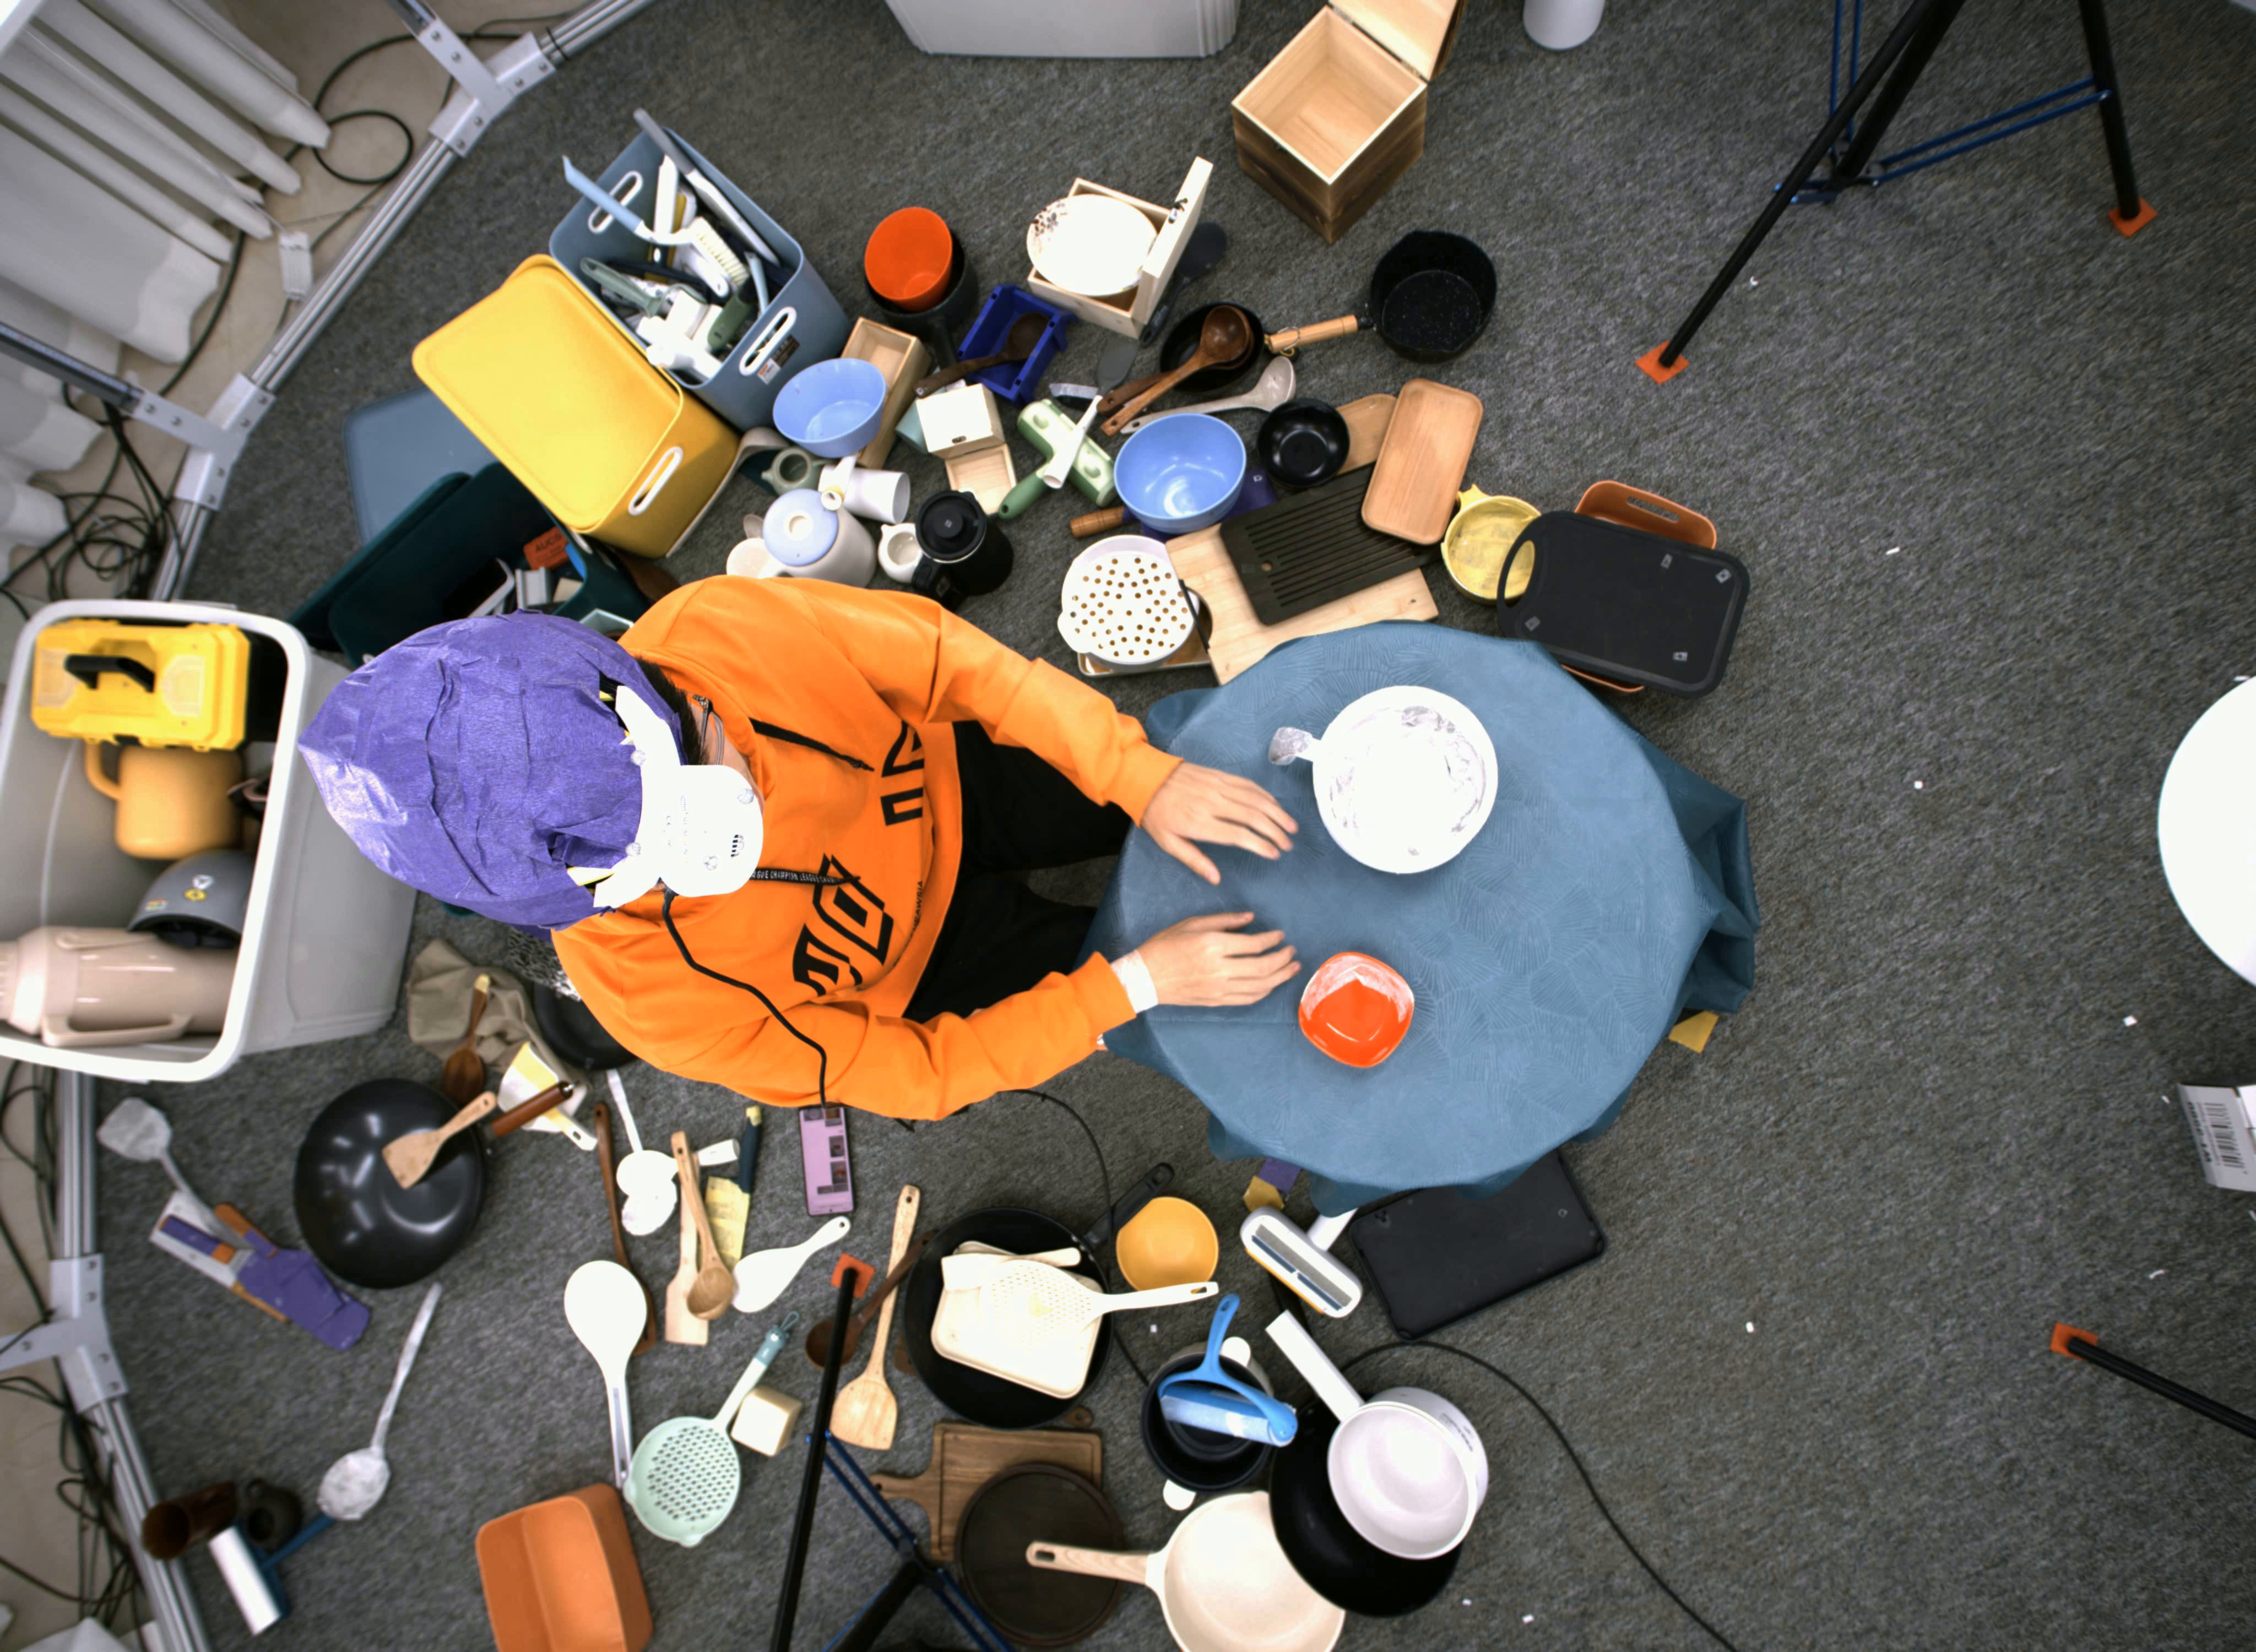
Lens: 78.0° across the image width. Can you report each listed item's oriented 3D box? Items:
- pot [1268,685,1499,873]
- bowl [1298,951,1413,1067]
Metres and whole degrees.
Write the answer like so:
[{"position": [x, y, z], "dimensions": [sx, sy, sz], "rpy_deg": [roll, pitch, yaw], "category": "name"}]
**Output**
[{"position": [0.253, -0.052, 1.400], "dimensions": [0.234, 0.137, 0.178], "rpy_deg": [18, 89, 11], "category": "pot"}, {"position": [0.235, 0.187, 1.434], "dimensions": [0.119, 0.051, 0.118], "rpy_deg": [-1, 88, 10], "category": "bowl"}]
